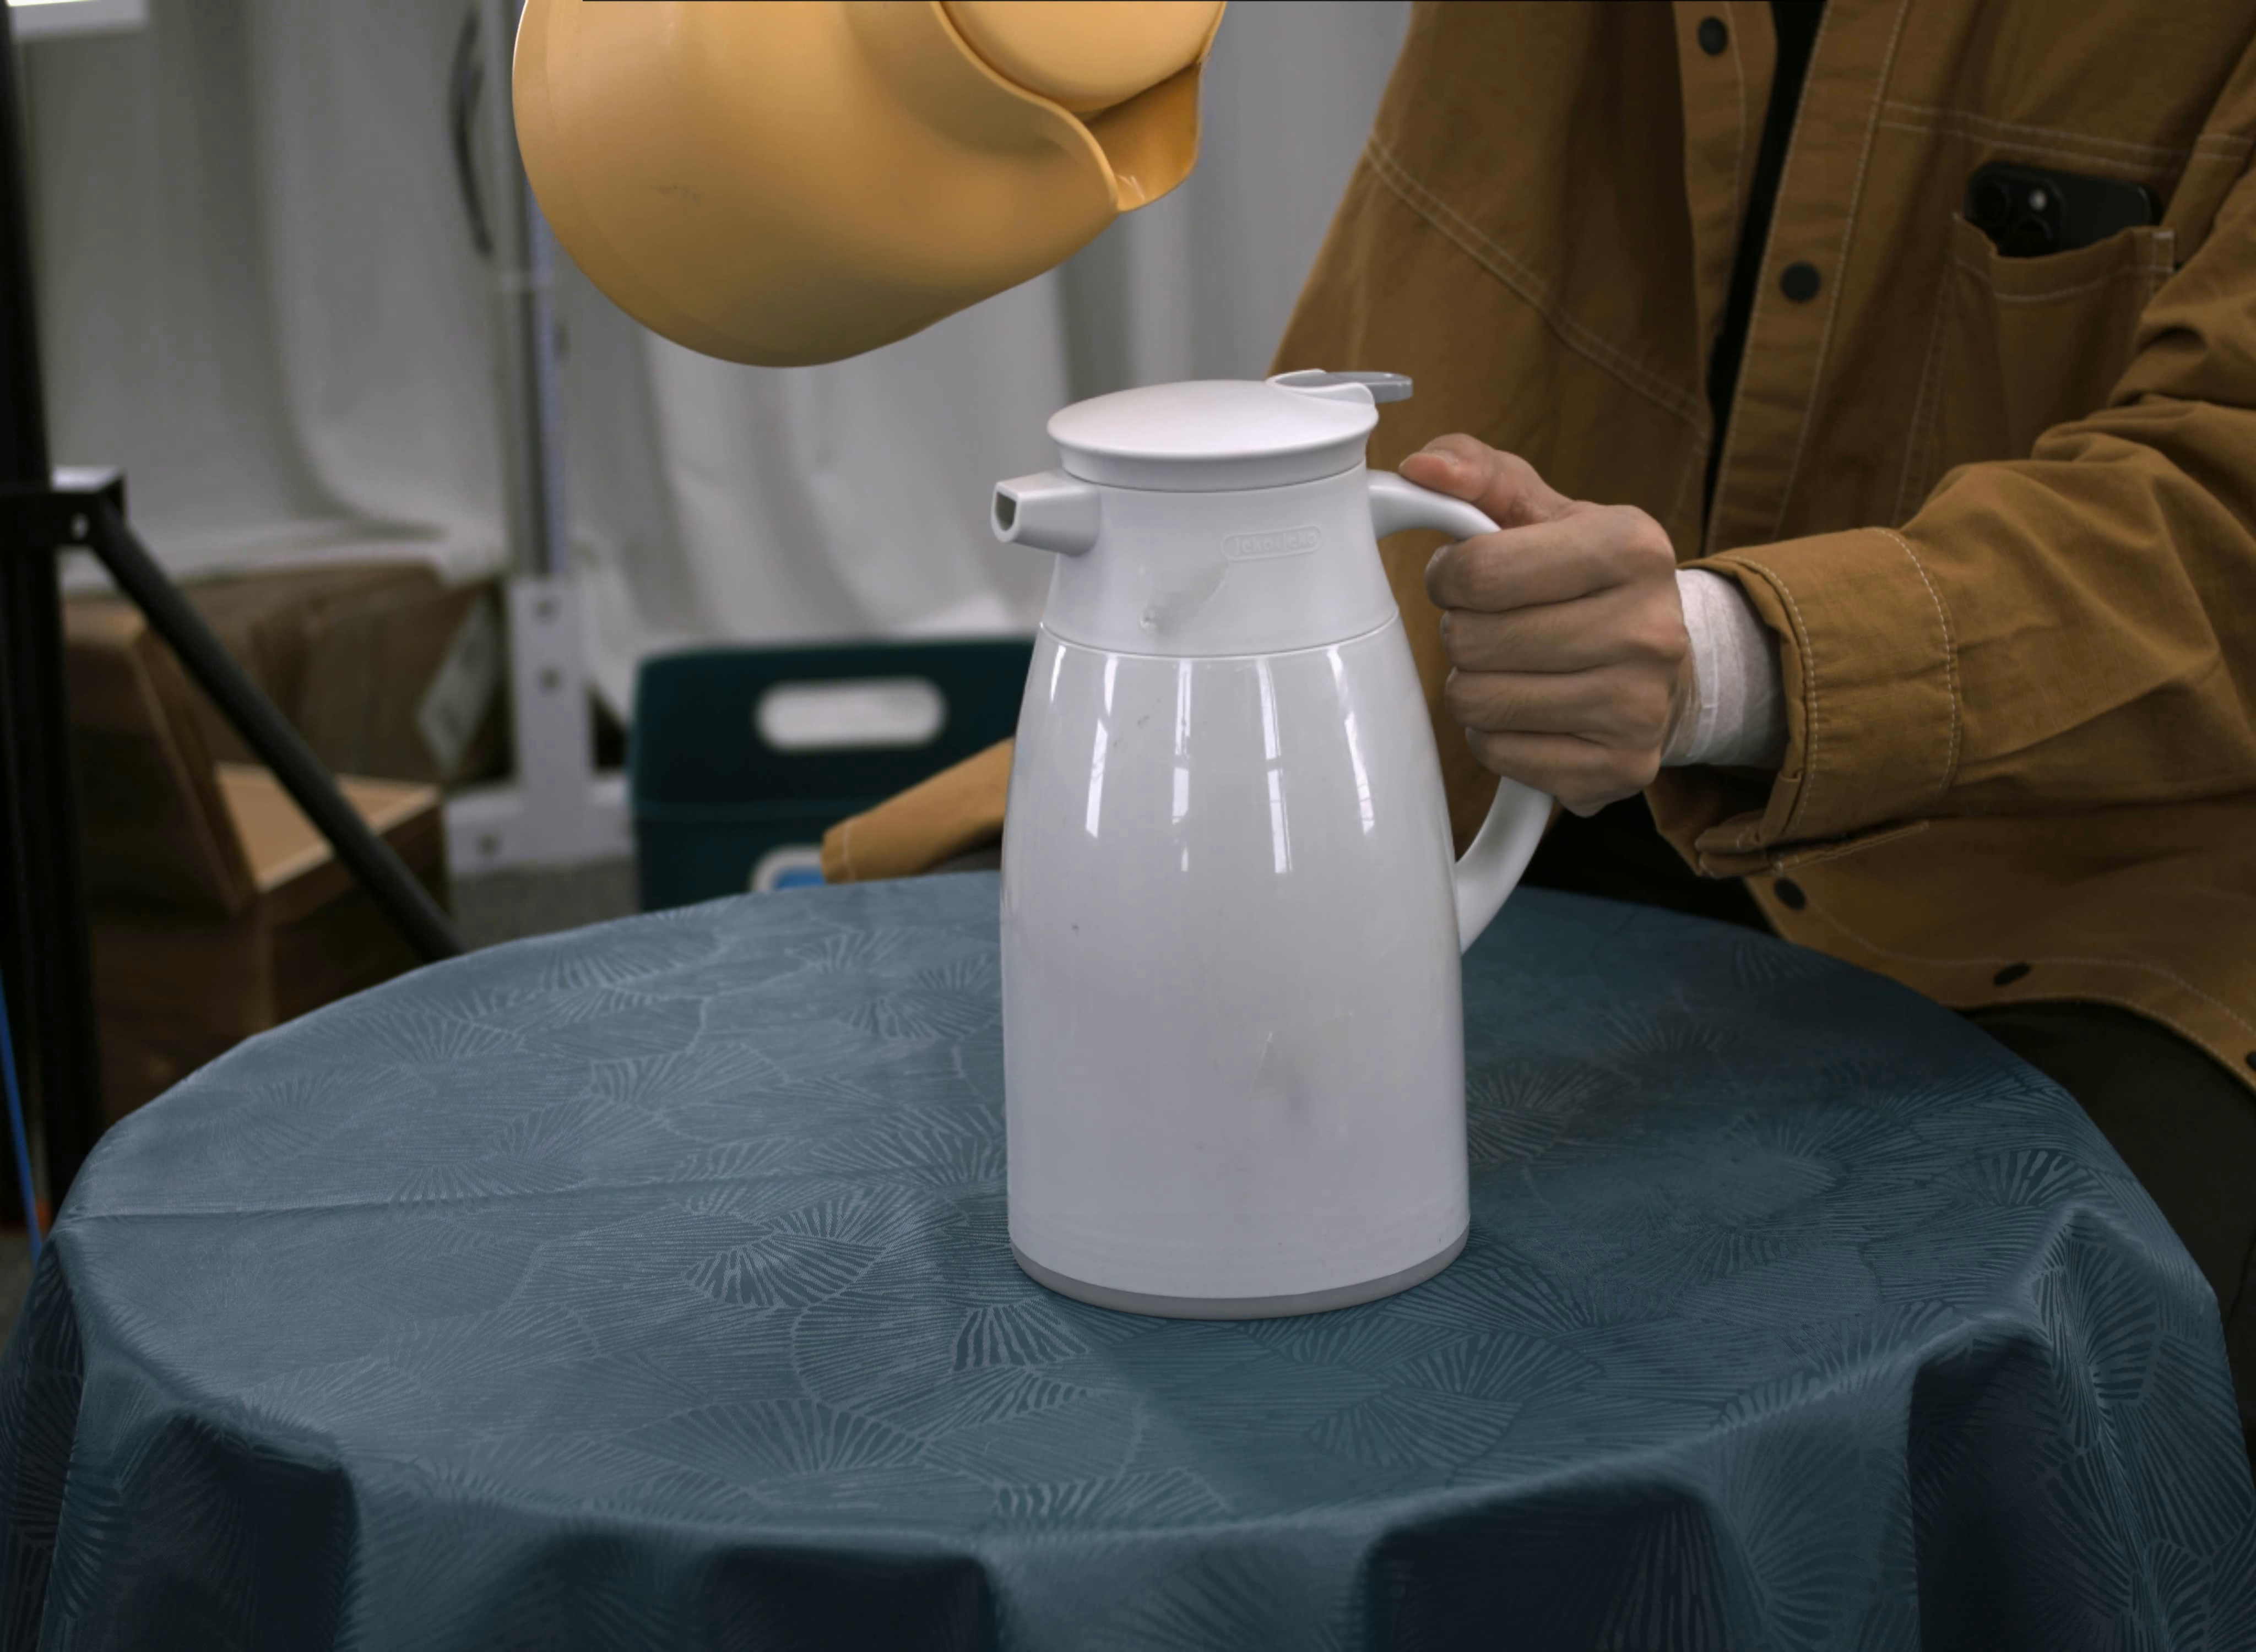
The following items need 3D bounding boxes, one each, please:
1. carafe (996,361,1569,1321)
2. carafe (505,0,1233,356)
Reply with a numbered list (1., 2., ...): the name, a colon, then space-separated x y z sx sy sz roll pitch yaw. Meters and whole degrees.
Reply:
1. carafe: 0.045 -0.004 1.489 0.164 0.248 0.135 -7 16 -20
2. carafe: -0.070 -0.250 1.541 0.160 0.203 0.265 -18 3 -29
